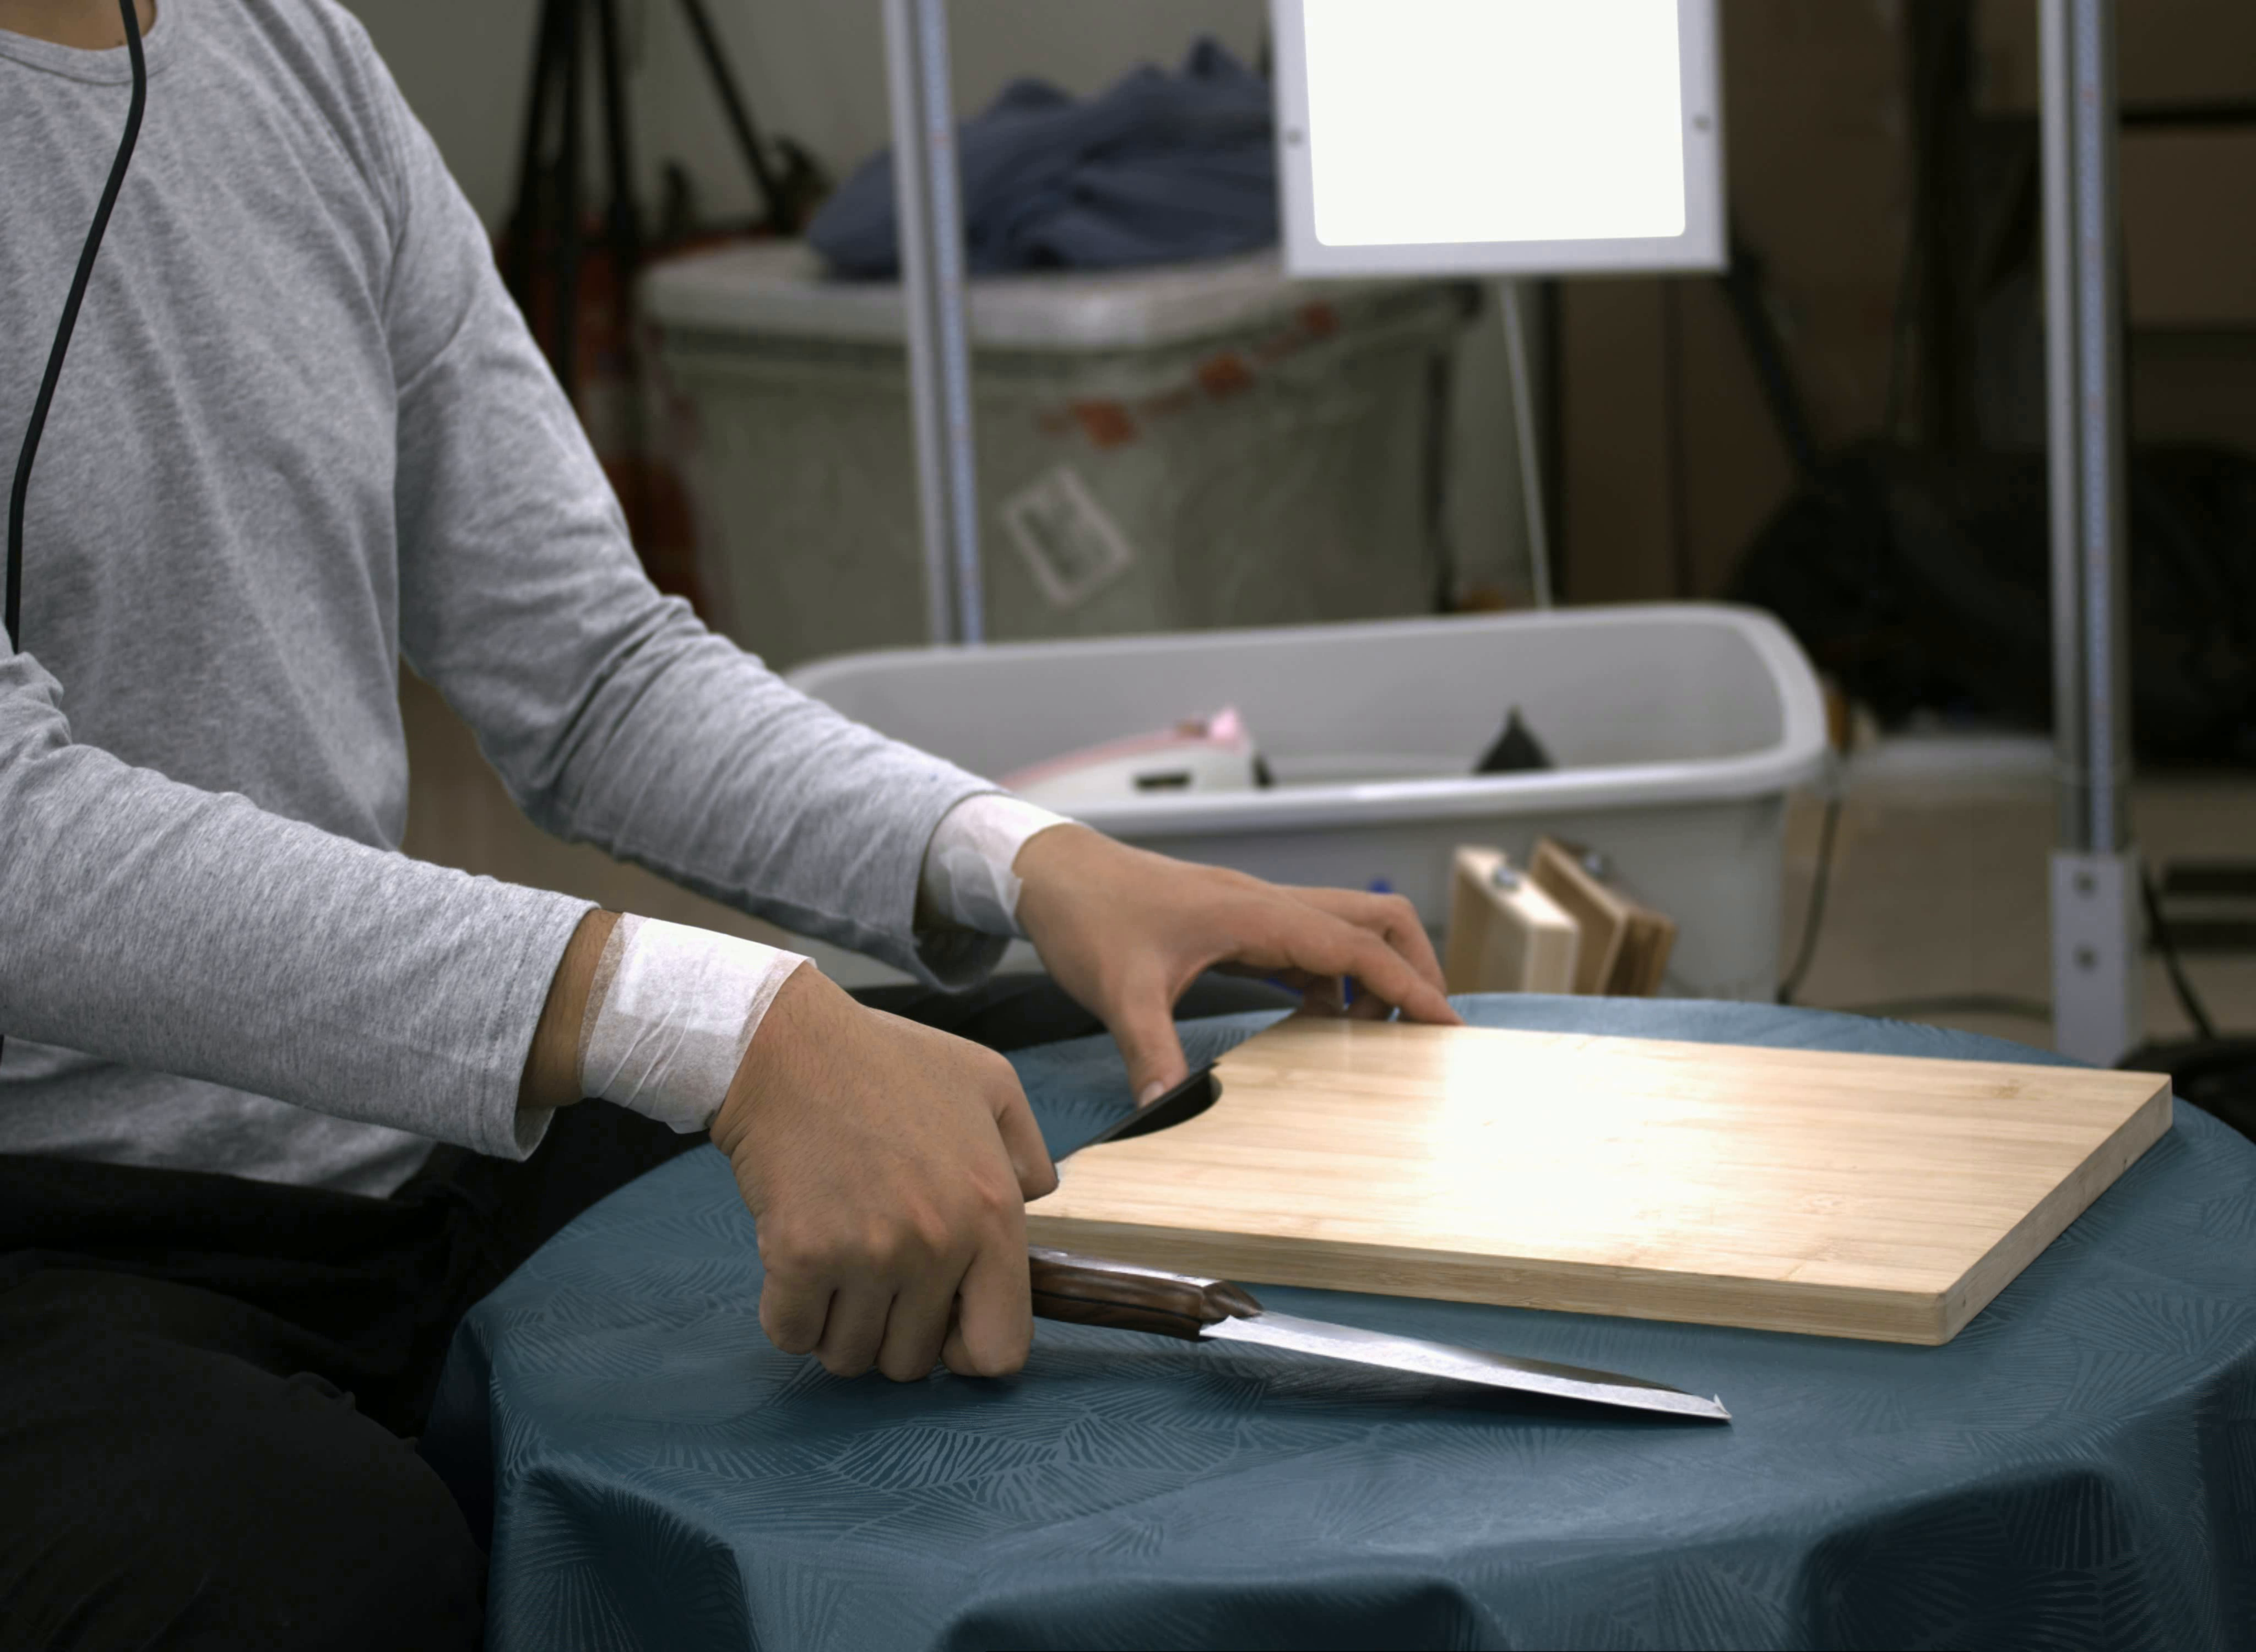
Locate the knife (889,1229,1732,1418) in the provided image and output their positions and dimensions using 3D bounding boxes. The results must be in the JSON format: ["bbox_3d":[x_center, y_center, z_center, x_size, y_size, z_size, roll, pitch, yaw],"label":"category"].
[{"bbox_3d":[0.052,0.156,1.697,0.294,0.020,0.049,8,9,27],"label":"knife"}]

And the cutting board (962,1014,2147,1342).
[{"bbox_3d":[0.150,0.115,1.862,0.355,0.023,0.245,2,15,29],"label":"cutting board"}]
